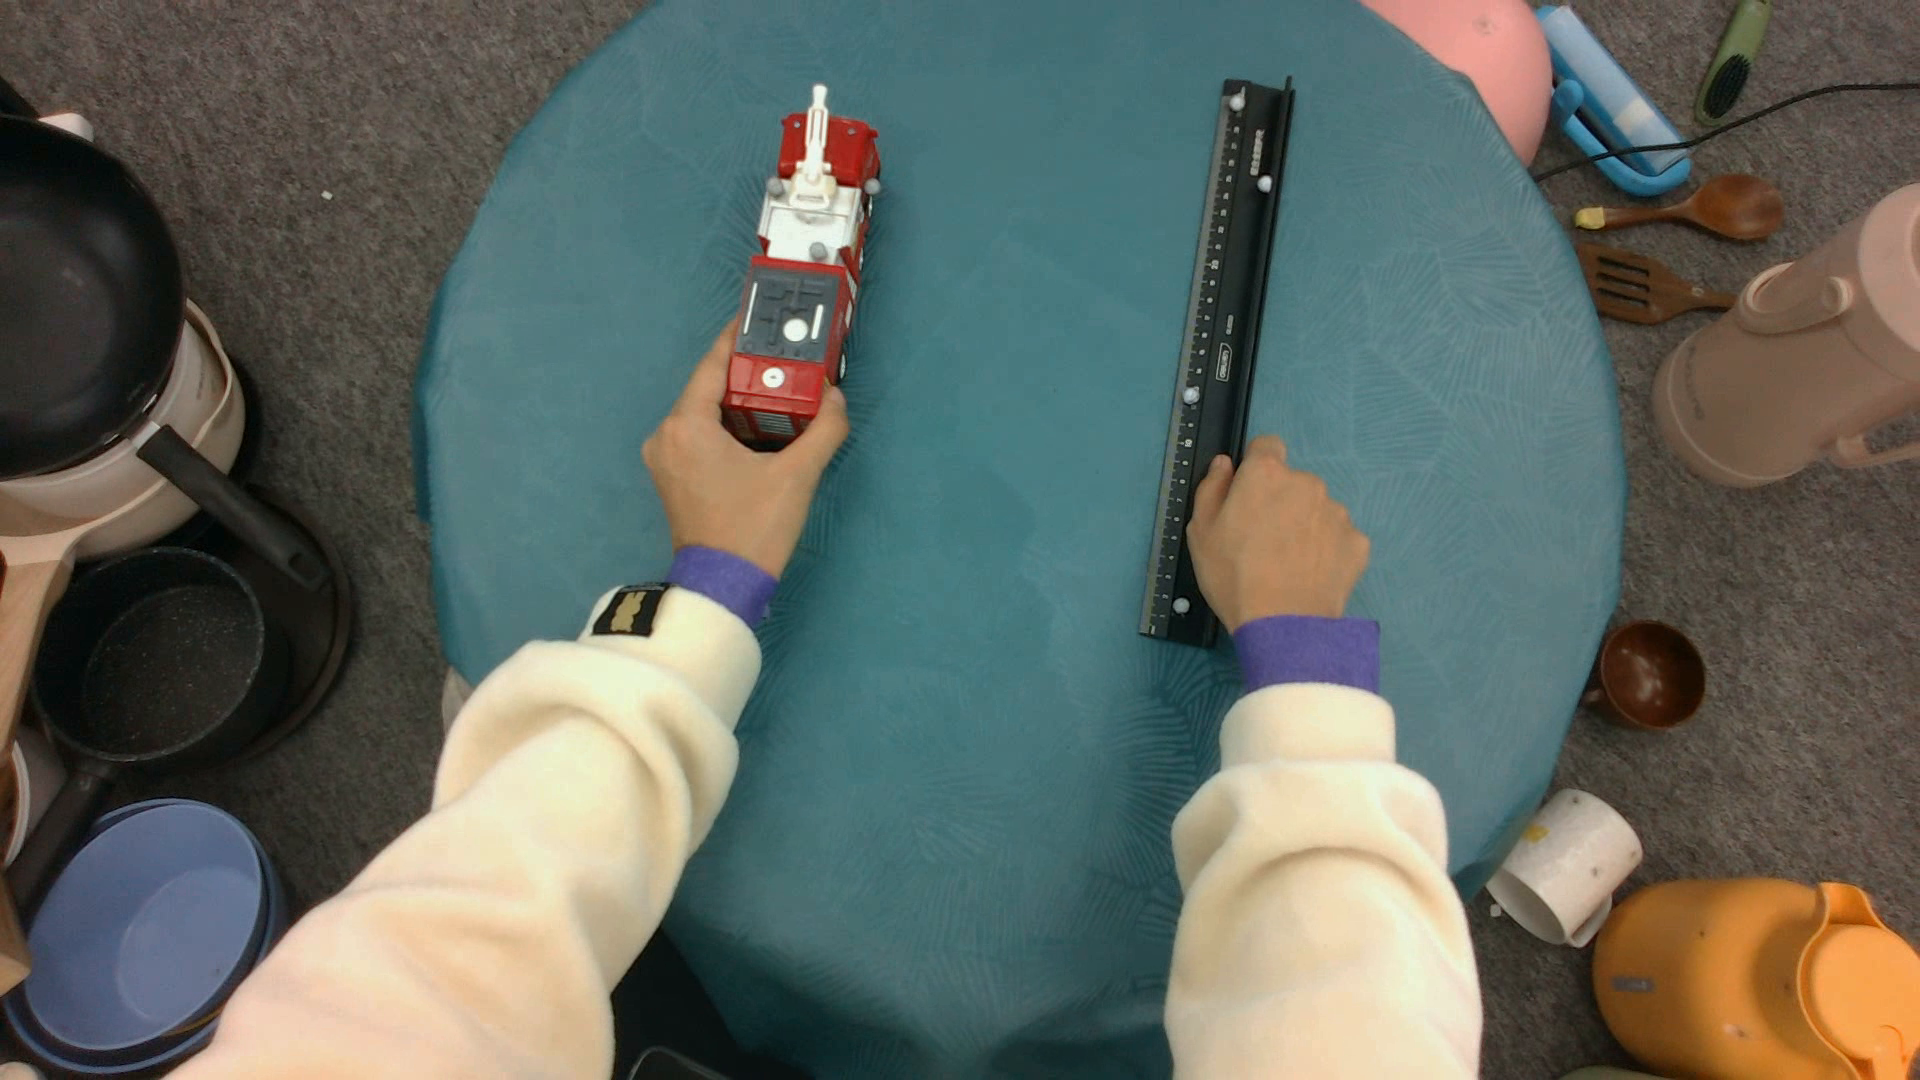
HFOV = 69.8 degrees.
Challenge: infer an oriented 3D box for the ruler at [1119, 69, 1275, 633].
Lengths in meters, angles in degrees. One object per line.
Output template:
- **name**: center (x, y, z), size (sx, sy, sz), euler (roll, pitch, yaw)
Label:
- **ruler**: center (0.124, -0.108, 0.699), size (0.039, 0.017, 0.313), euler (12, 74, 0)

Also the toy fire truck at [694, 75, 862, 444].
- **toy fire truck**: center (-0.085, -0.132, 0.661), size (0.054, 0.070, 0.168), euler (7, 75, 8)
